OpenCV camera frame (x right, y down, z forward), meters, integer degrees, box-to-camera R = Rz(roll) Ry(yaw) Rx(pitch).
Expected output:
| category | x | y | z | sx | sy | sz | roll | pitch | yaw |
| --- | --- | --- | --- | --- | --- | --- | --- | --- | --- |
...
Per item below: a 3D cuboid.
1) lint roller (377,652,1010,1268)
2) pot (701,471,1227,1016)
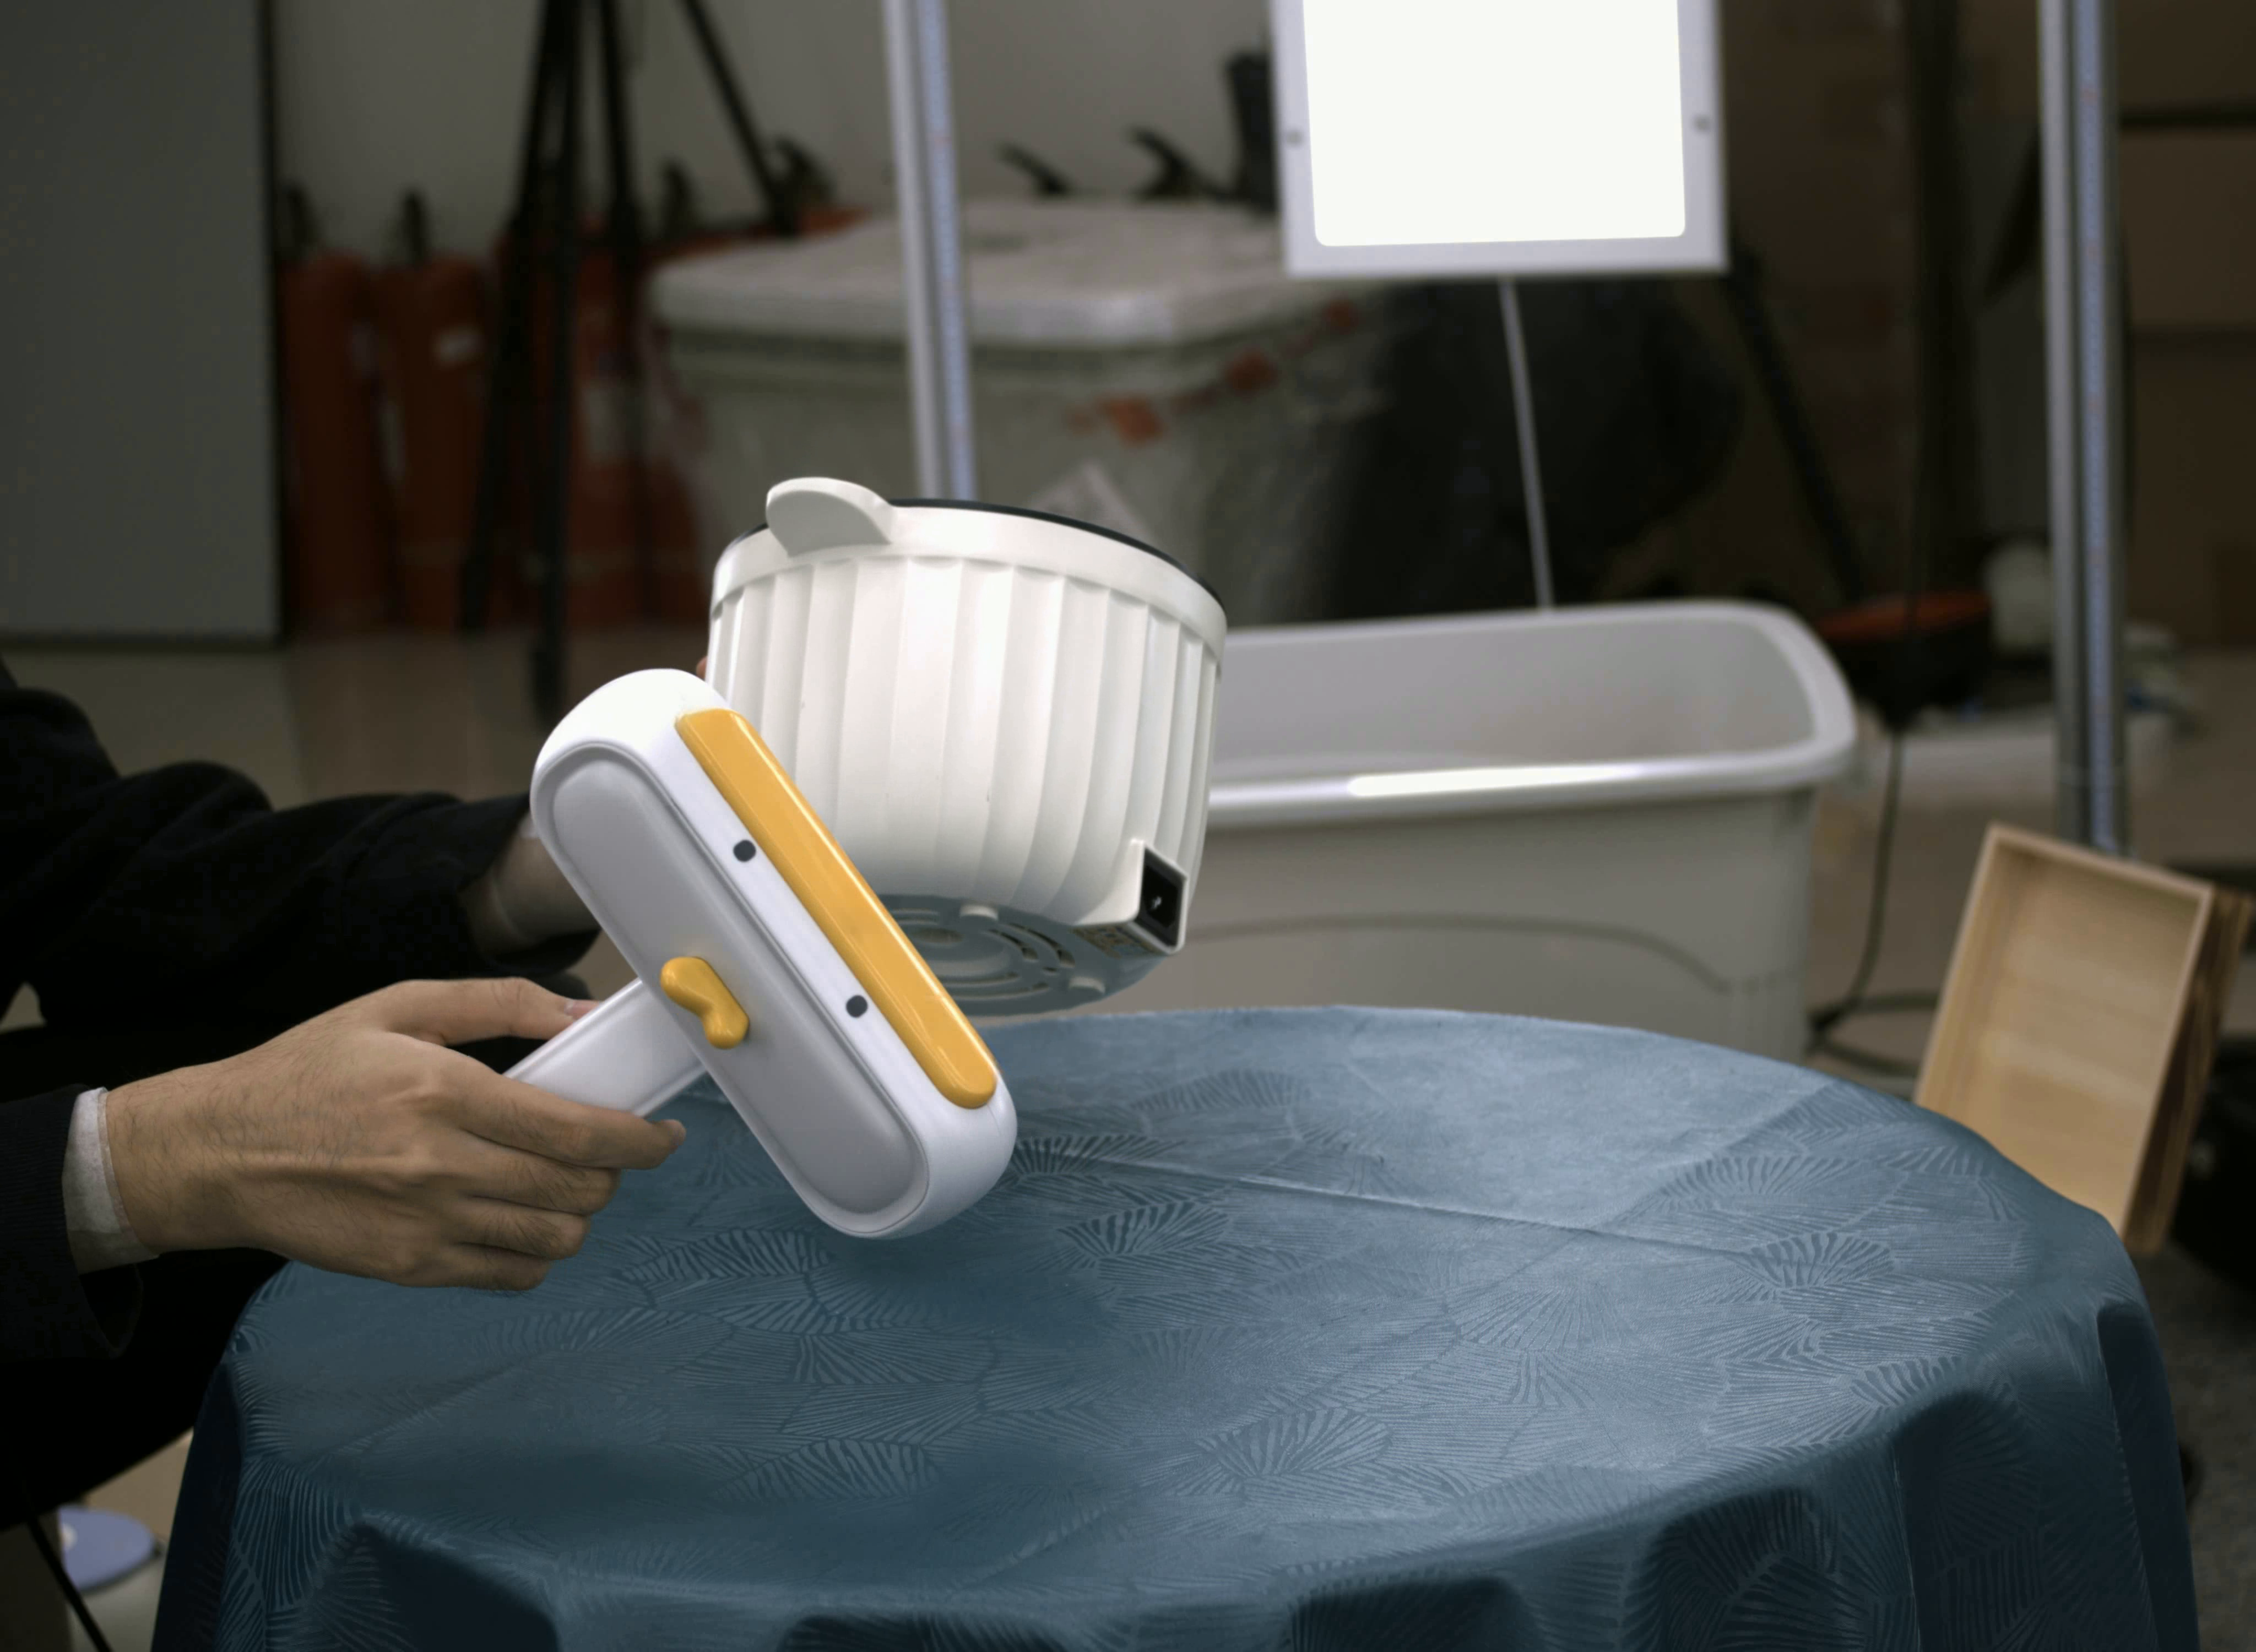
| category | x | y | z | sx | sy | sz | roll | pitch | yaw |
| --- | --- | --- | --- | --- | --- | --- | --- | --- | --- |
| lint roller | -0.154 | 0.068 | 1.691 | 0.196 | 0.192 | 0.073 | -39 | 6 | 32 |
| pot | -0.066 | -0.017 | 1.907 | 0.194 | 0.142 | 0.236 | -3 | -23 | 29 |
